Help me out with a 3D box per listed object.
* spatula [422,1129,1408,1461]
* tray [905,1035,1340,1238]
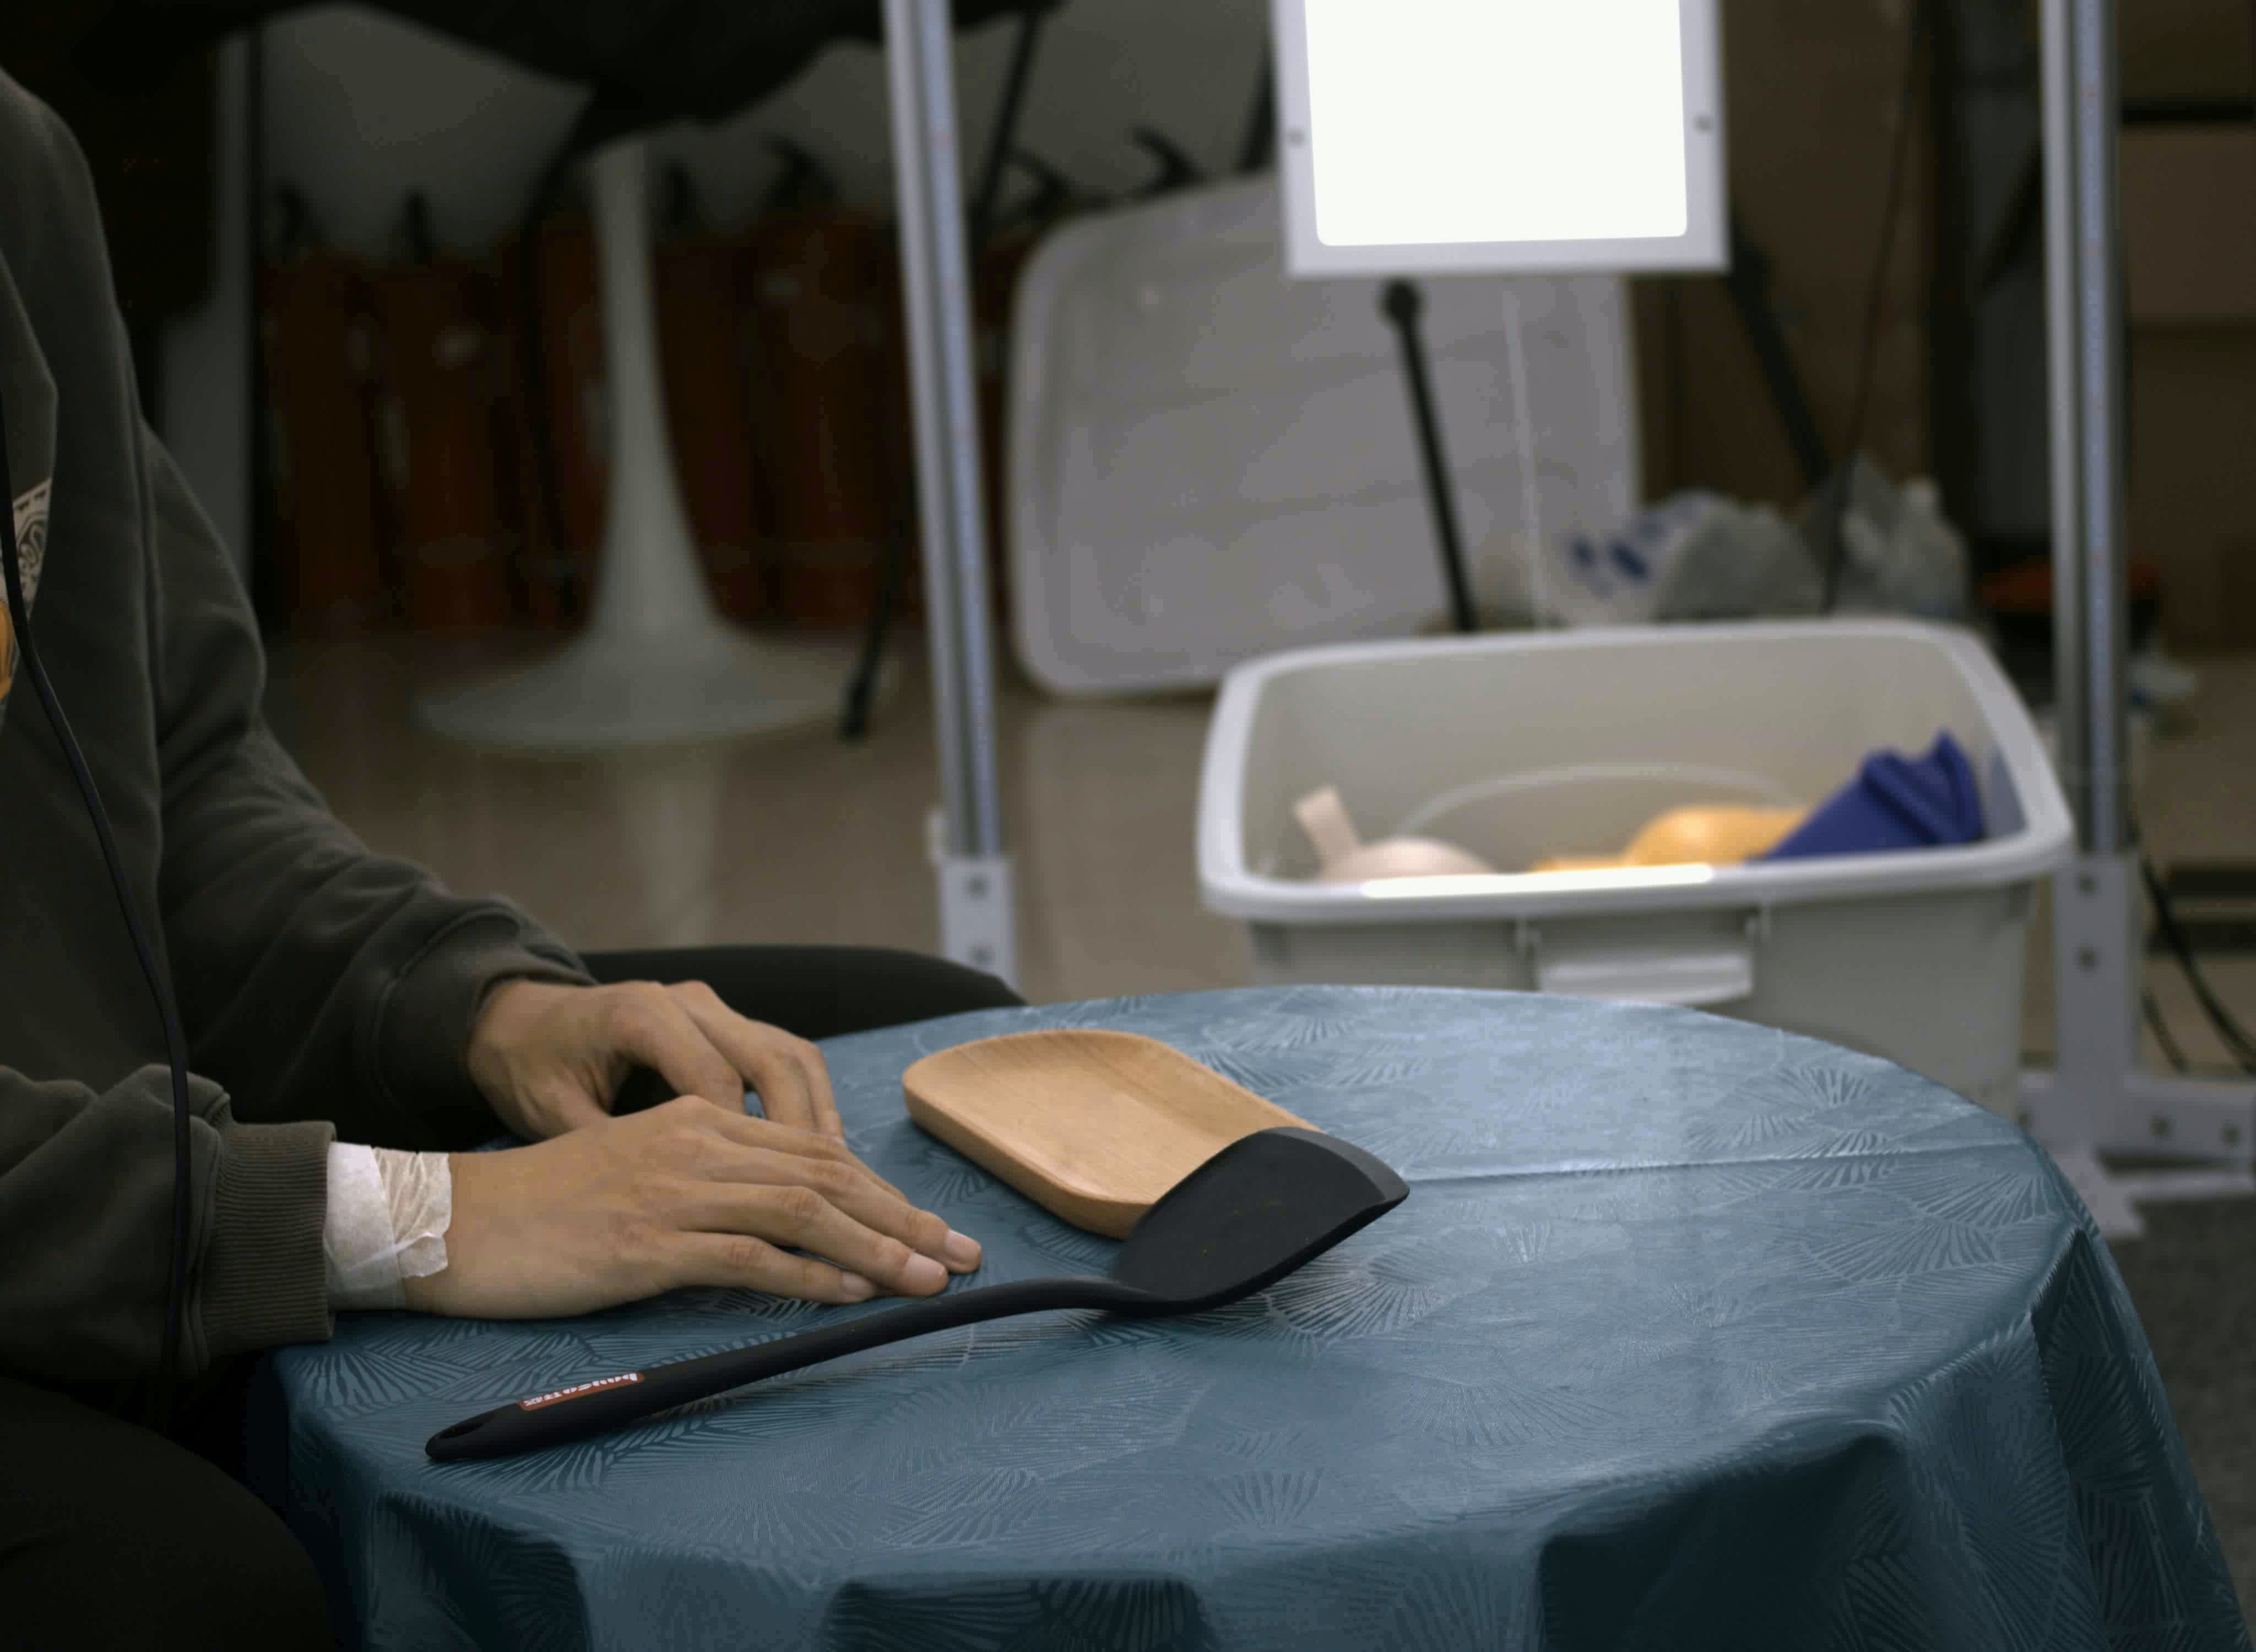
[{"bbox_3d":[-0.069,0.151,1.745,0.320,0.040,0.101,-10,13,-20],"label":"spatula"},{"bbox_3d":[-0.004,0.108,1.939,0.100,0.020,0.234,-11,16,-21],"label":"tray"}]
